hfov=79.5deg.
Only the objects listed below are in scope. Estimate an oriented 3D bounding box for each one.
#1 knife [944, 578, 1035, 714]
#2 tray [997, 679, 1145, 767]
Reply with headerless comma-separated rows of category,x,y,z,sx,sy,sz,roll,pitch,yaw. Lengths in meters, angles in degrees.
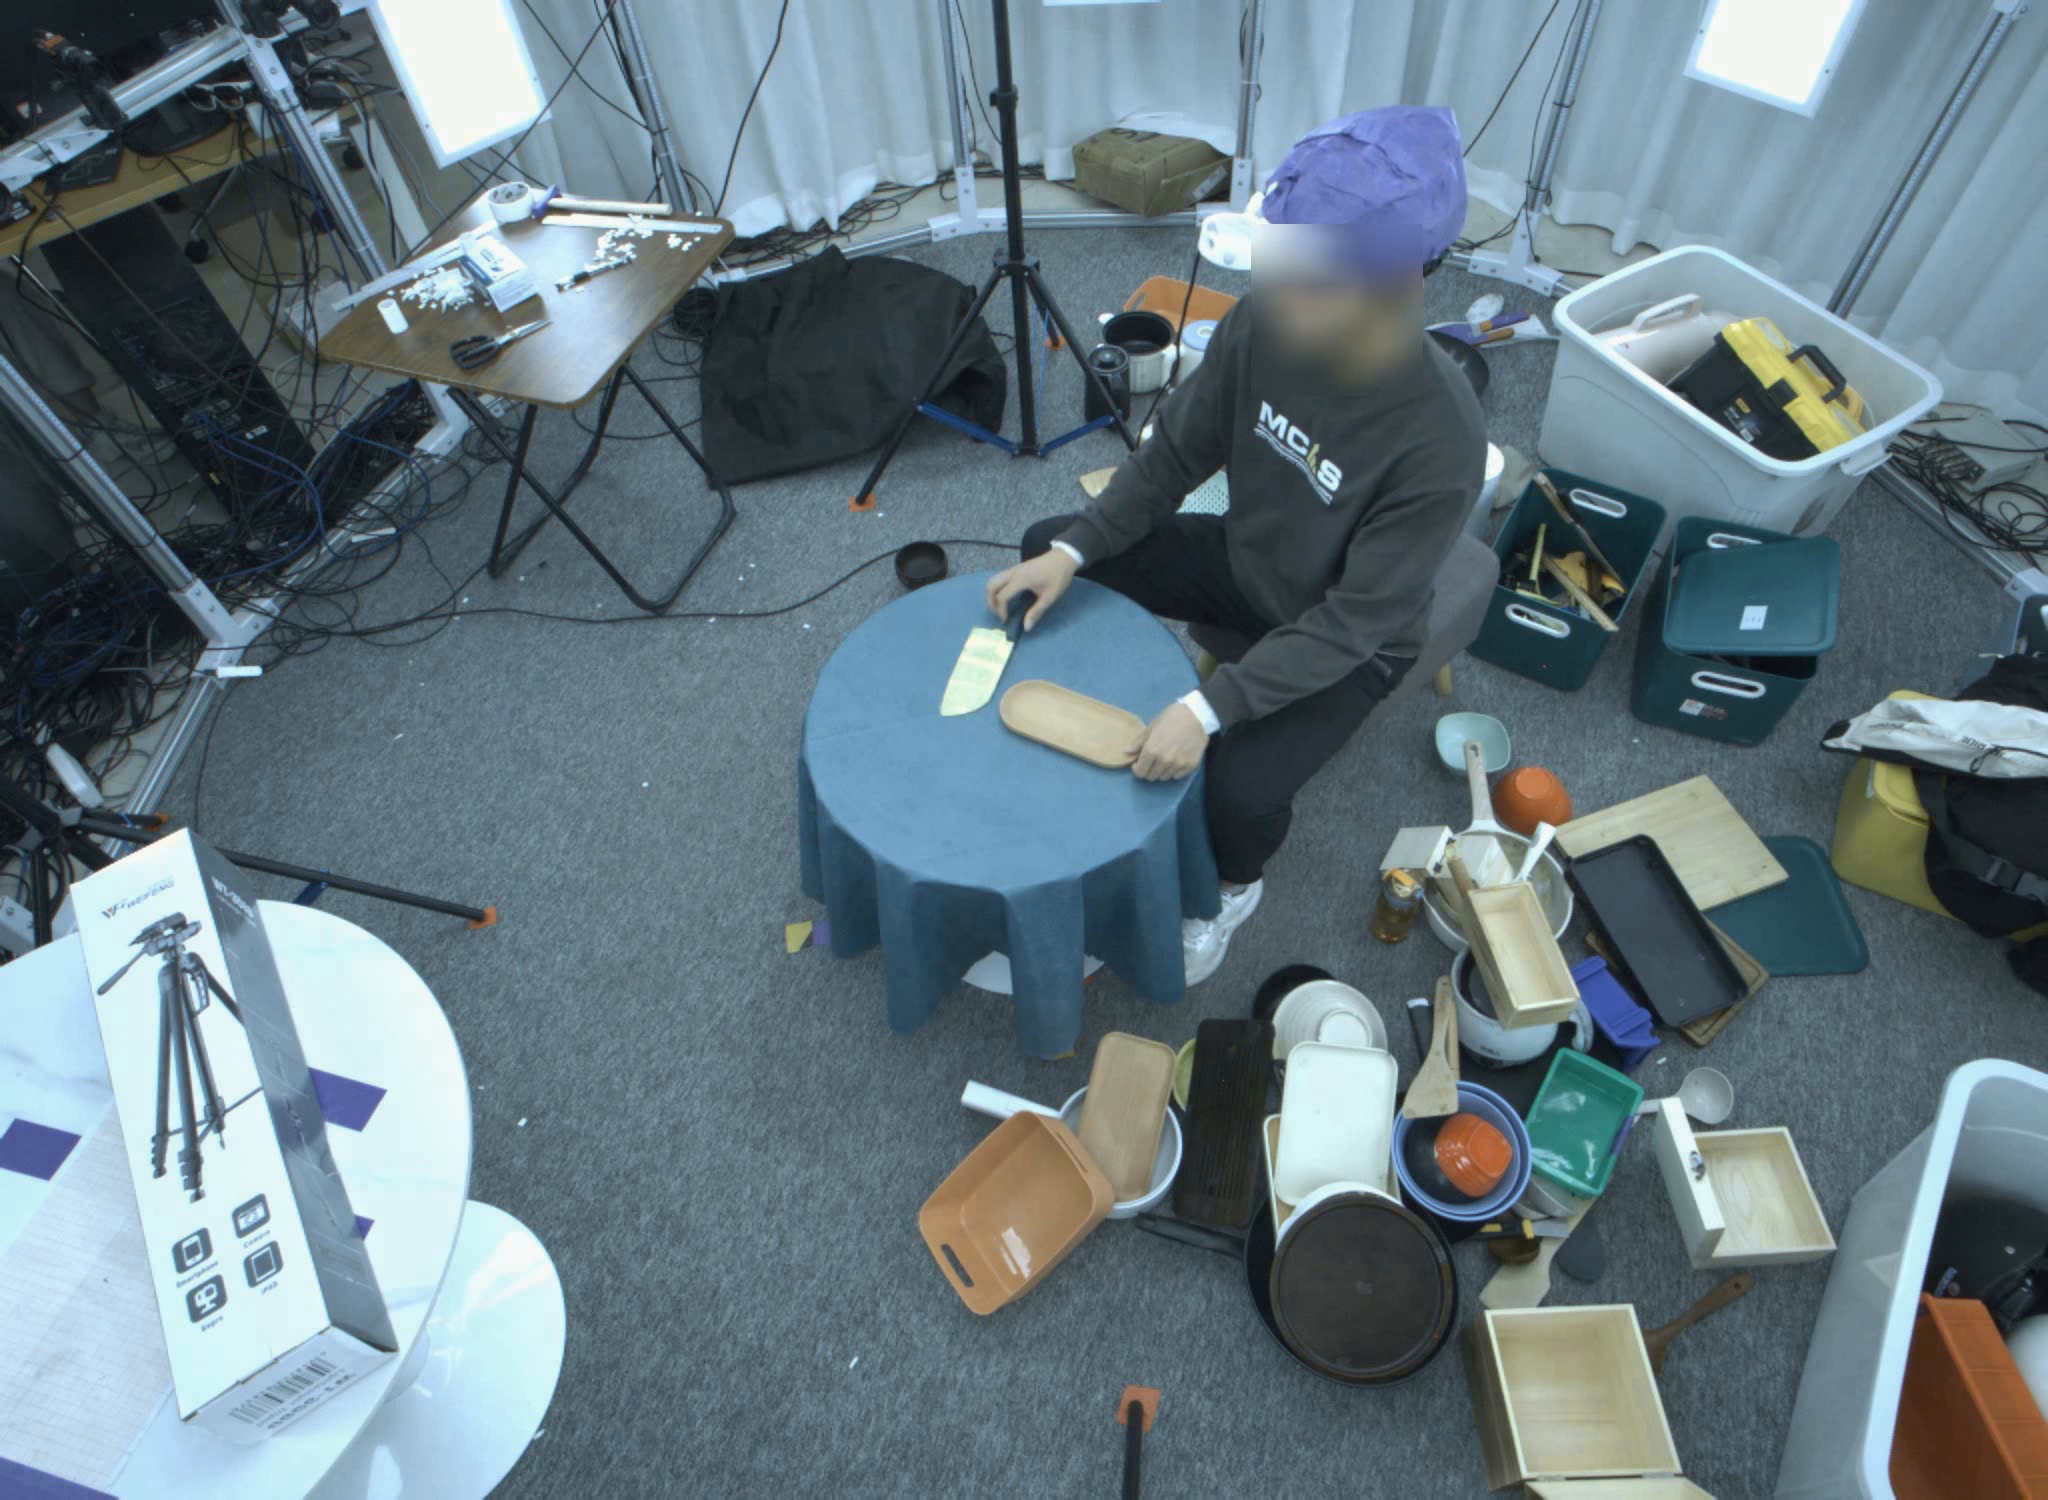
knife,-0.051,-0.164,1.905,0.080,0.027,0.289,19,58,11
tray,0.068,-0.040,1.812,0.228,0.020,0.102,21,56,17
